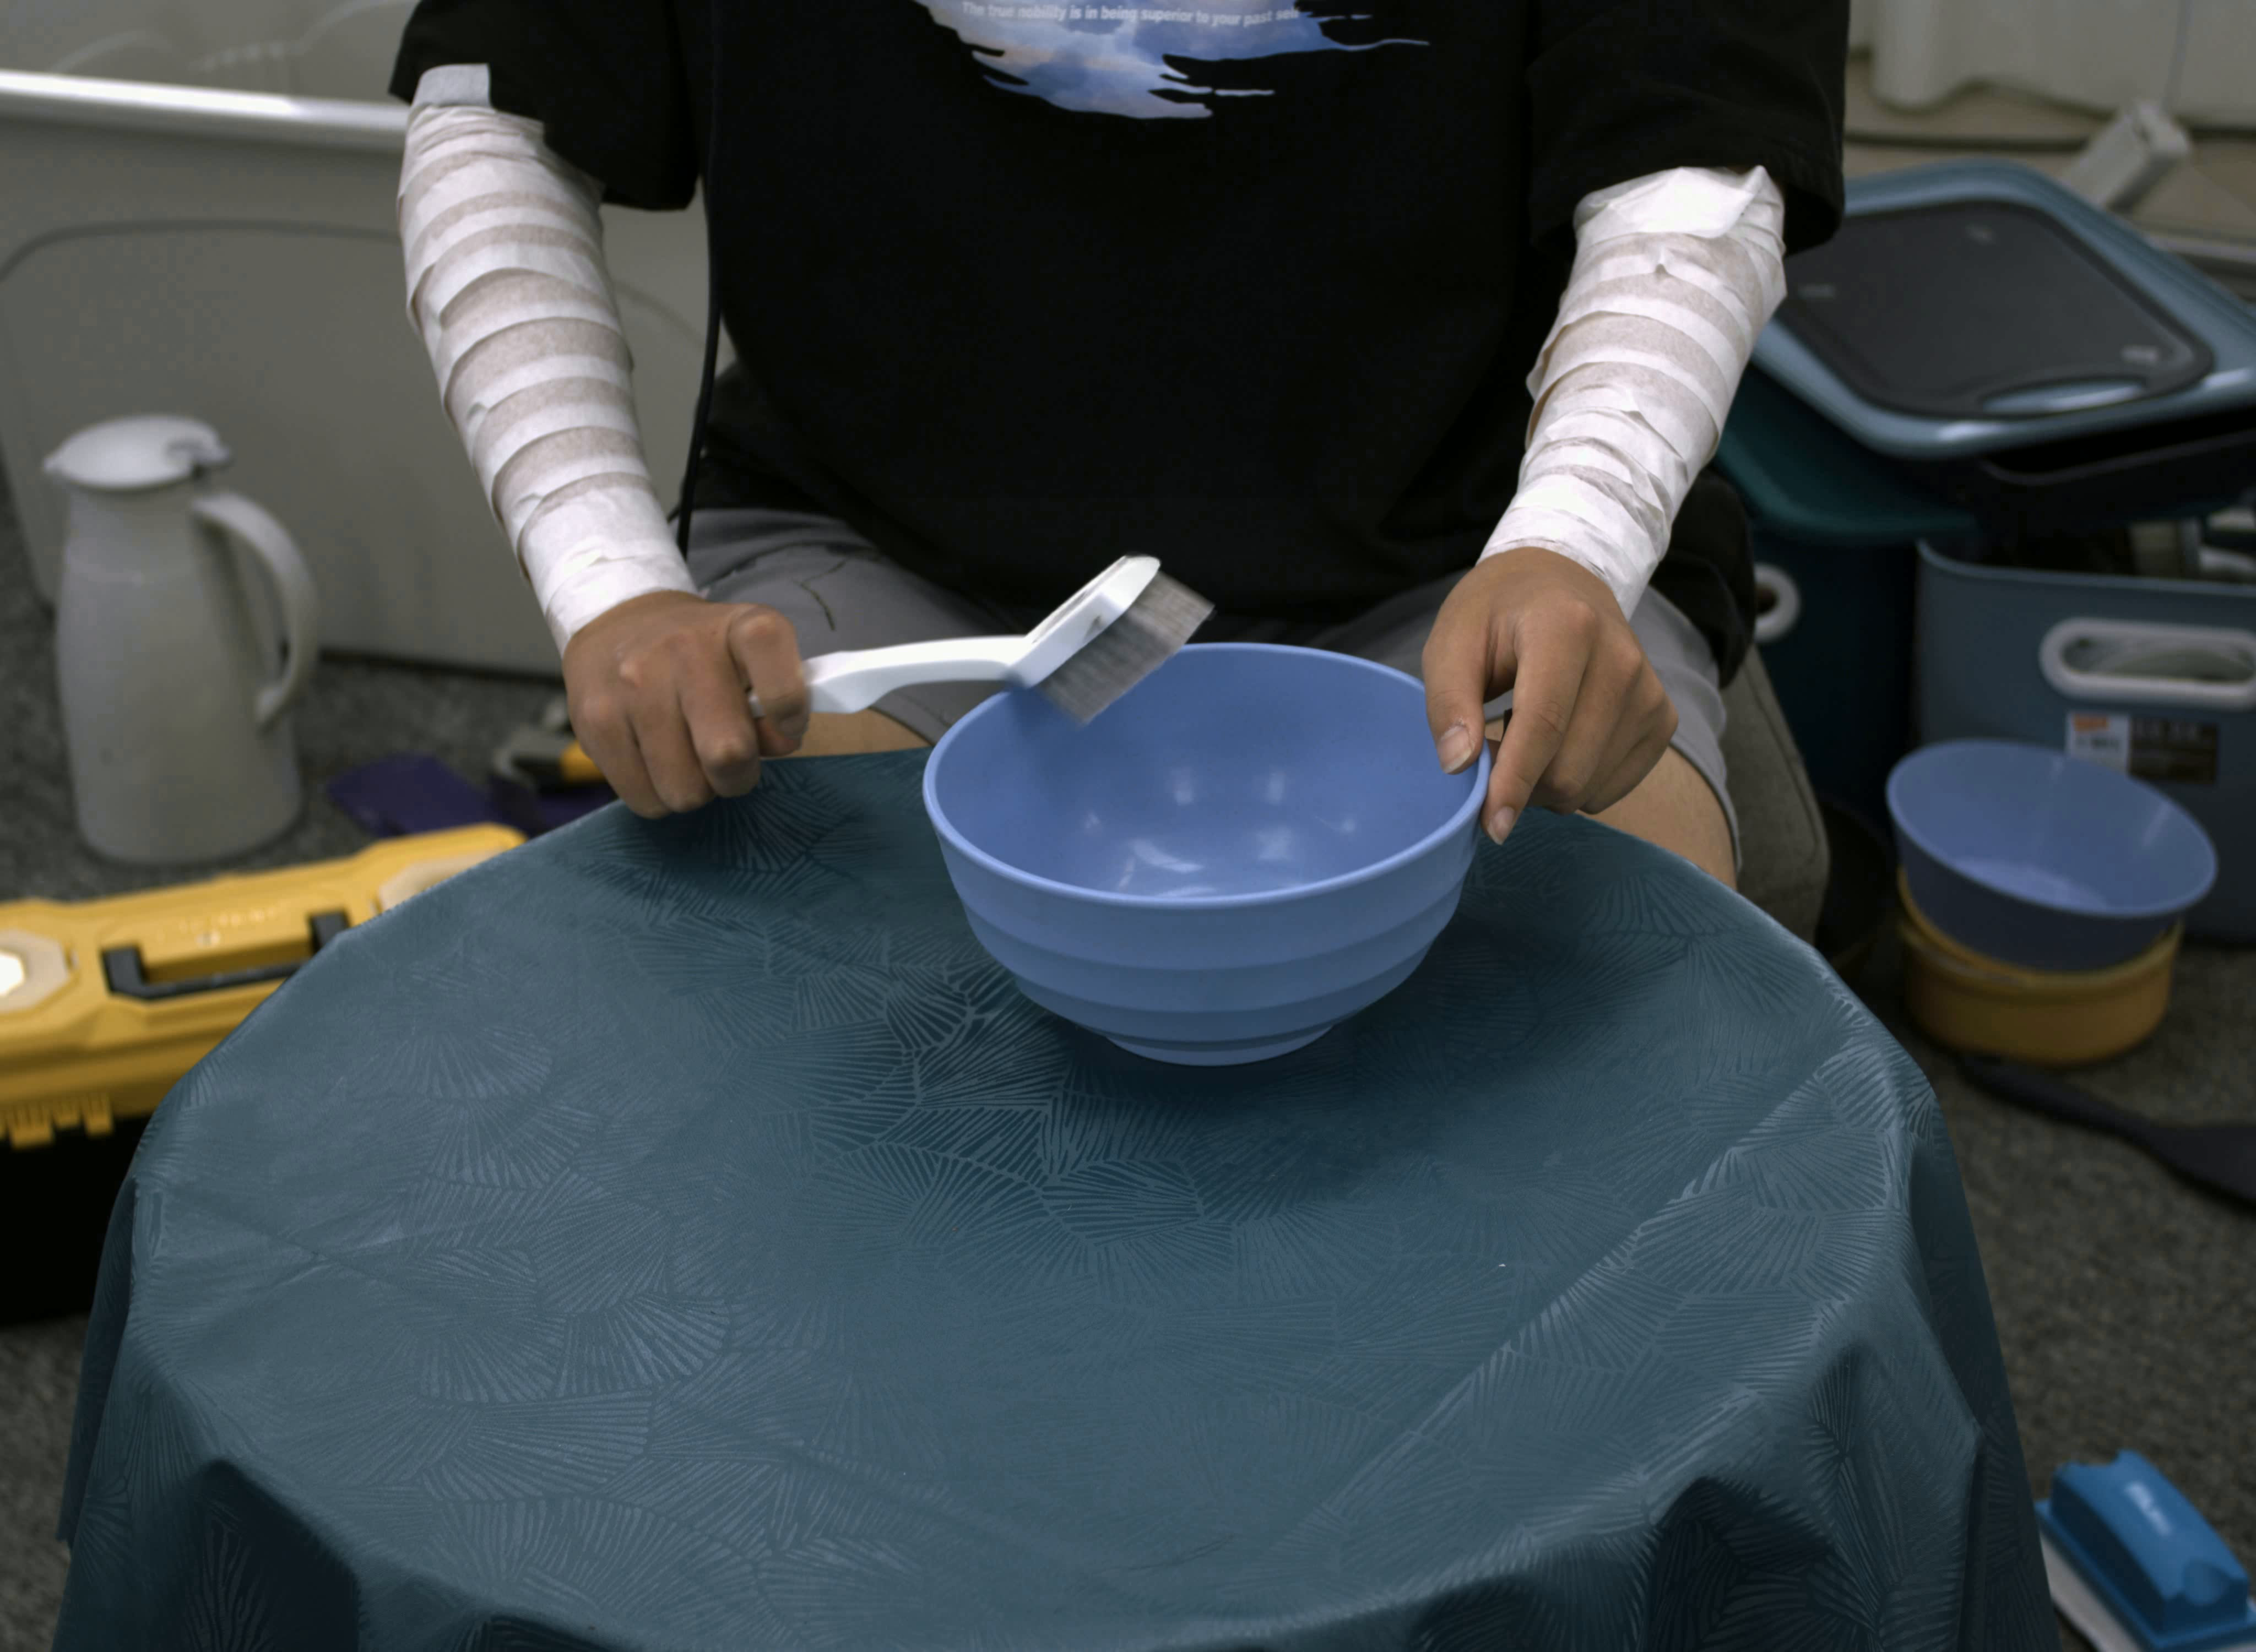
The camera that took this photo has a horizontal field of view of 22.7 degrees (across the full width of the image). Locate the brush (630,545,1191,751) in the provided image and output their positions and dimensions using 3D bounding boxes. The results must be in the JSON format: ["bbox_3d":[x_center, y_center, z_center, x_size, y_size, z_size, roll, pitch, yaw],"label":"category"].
[{"bbox_3d":[-0.079,-0.046,2.021,0.240,0.050,0.035,-17,24,35],"label":"brush"}]

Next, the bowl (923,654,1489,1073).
[{"bbox_3d":[0.030,0.023,1.953,0.195,0.094,0.199,-4,26,2],"label":"bowl"}]
